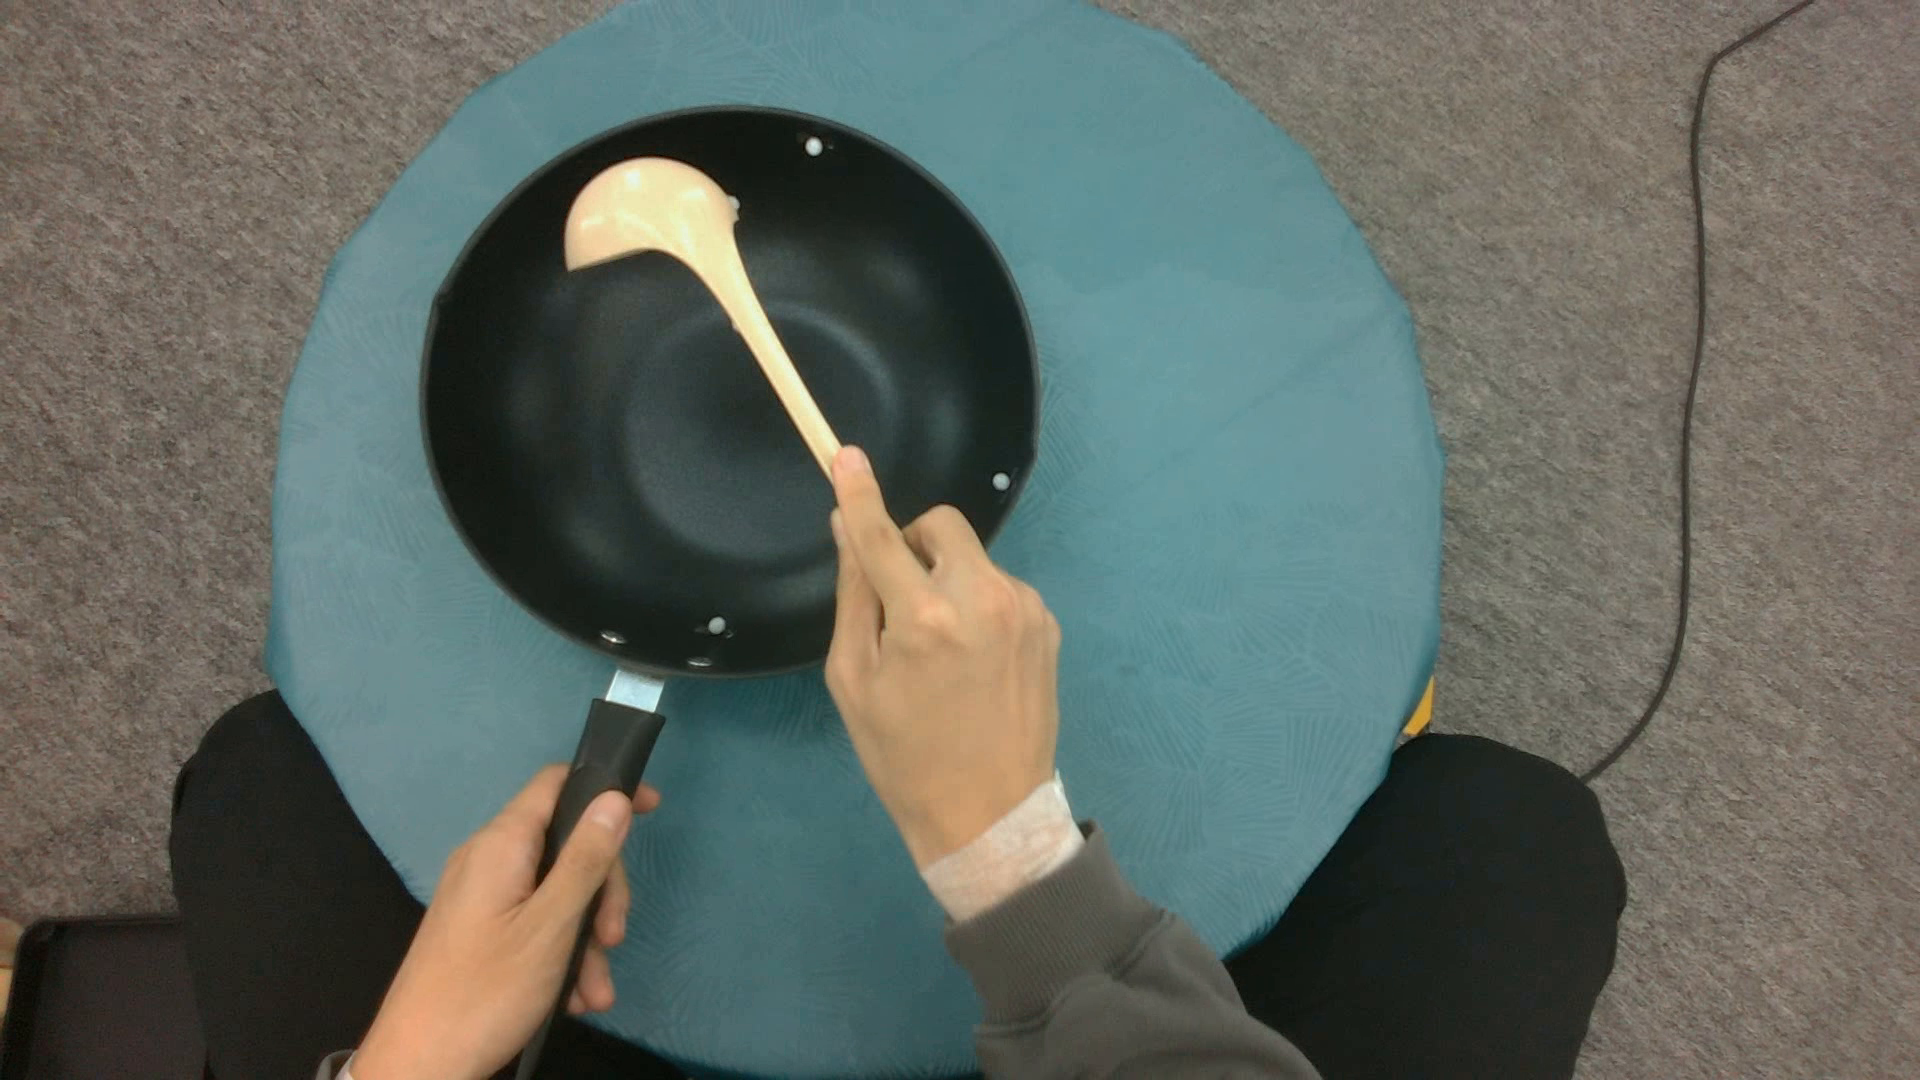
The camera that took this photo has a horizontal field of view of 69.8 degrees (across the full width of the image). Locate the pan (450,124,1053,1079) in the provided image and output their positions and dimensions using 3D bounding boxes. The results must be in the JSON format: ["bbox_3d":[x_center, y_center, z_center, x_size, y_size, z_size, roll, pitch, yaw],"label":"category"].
[{"bbox_3d":[-0.124,0.024,0.664,0.288,0.086,0.464,16,76,2],"label":"pan"}]

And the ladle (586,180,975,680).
[{"bbox_3d":[-0.077,-0.039,0.583,0.072,0.072,0.254,-22,78,-40],"label":"ladle"}]
